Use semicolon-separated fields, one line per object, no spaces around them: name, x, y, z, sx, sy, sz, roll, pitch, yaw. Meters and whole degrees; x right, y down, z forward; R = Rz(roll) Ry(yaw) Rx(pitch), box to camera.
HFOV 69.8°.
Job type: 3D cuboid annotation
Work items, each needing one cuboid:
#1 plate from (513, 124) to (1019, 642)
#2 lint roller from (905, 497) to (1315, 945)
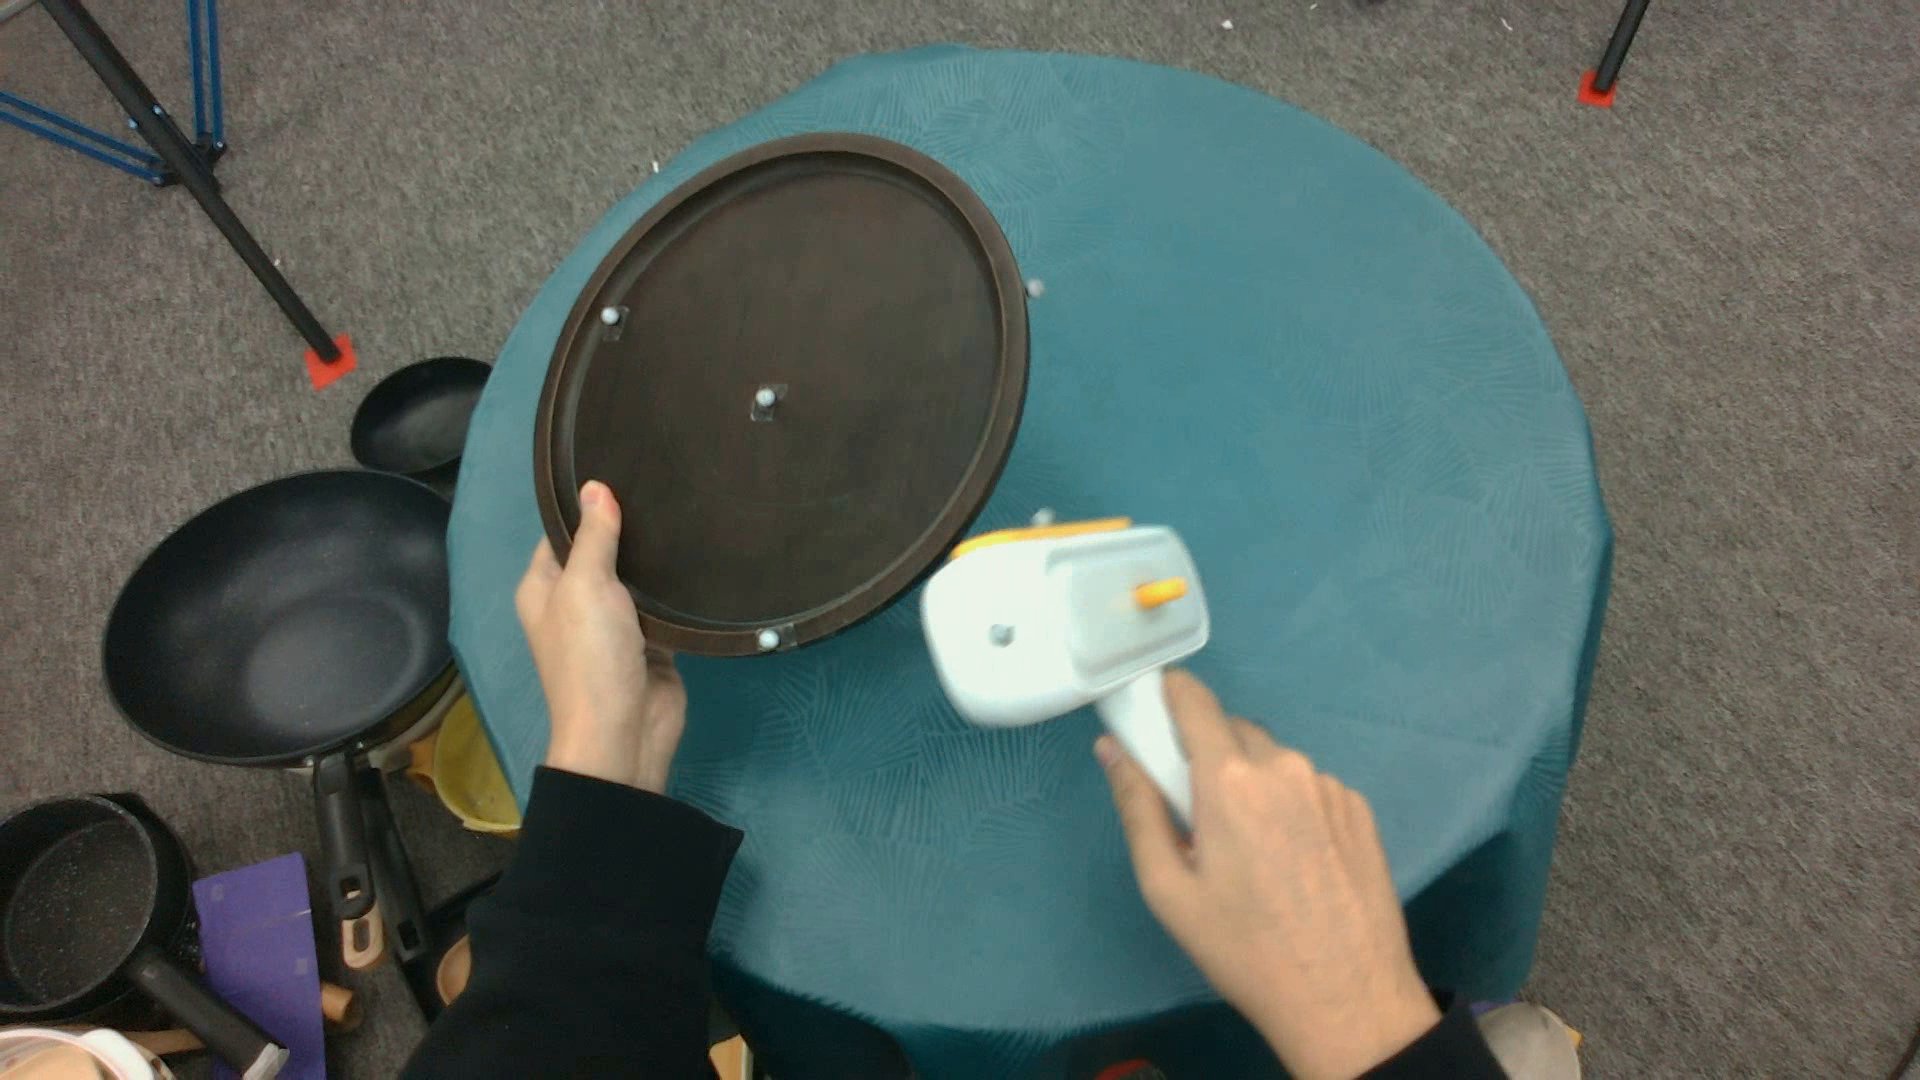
plate;-0.092;-0.075;0.626;0.254;0.029;0.255;-6;71;19
lint roller;0.070;0.073;0.538;0.074;0.193;0.192;-28;84;20
